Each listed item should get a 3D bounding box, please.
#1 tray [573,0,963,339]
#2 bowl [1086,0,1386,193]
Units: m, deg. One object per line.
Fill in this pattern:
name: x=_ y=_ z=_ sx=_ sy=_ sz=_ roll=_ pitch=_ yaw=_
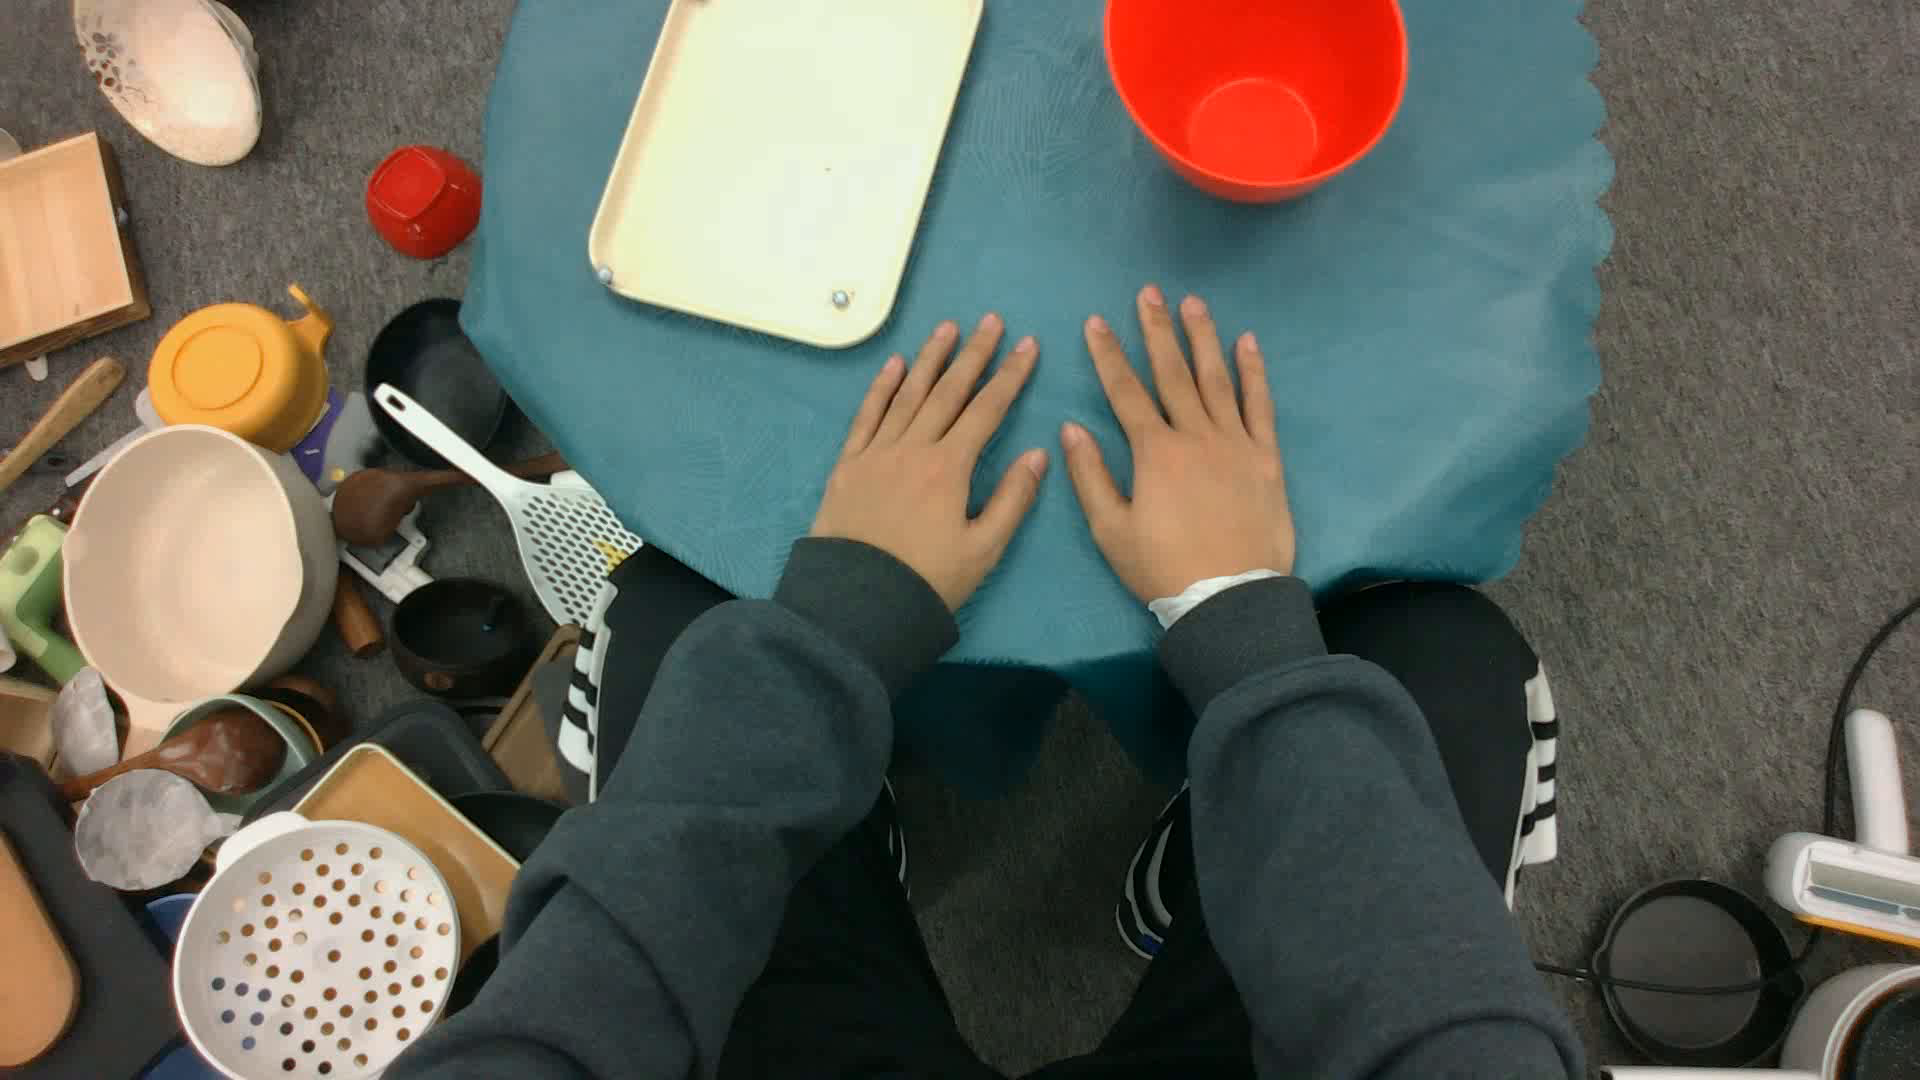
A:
tray: x=-0.103 y=-0.232 z=0.758 sx=0.171 sy=0.017 sz=0.240 roll=15 pitch=78 yaw=5
bowl: x=0.137 y=-0.238 z=0.705 sx=0.148 sy=0.104 sz=0.148 roll=-1 pitch=77 yaw=3
